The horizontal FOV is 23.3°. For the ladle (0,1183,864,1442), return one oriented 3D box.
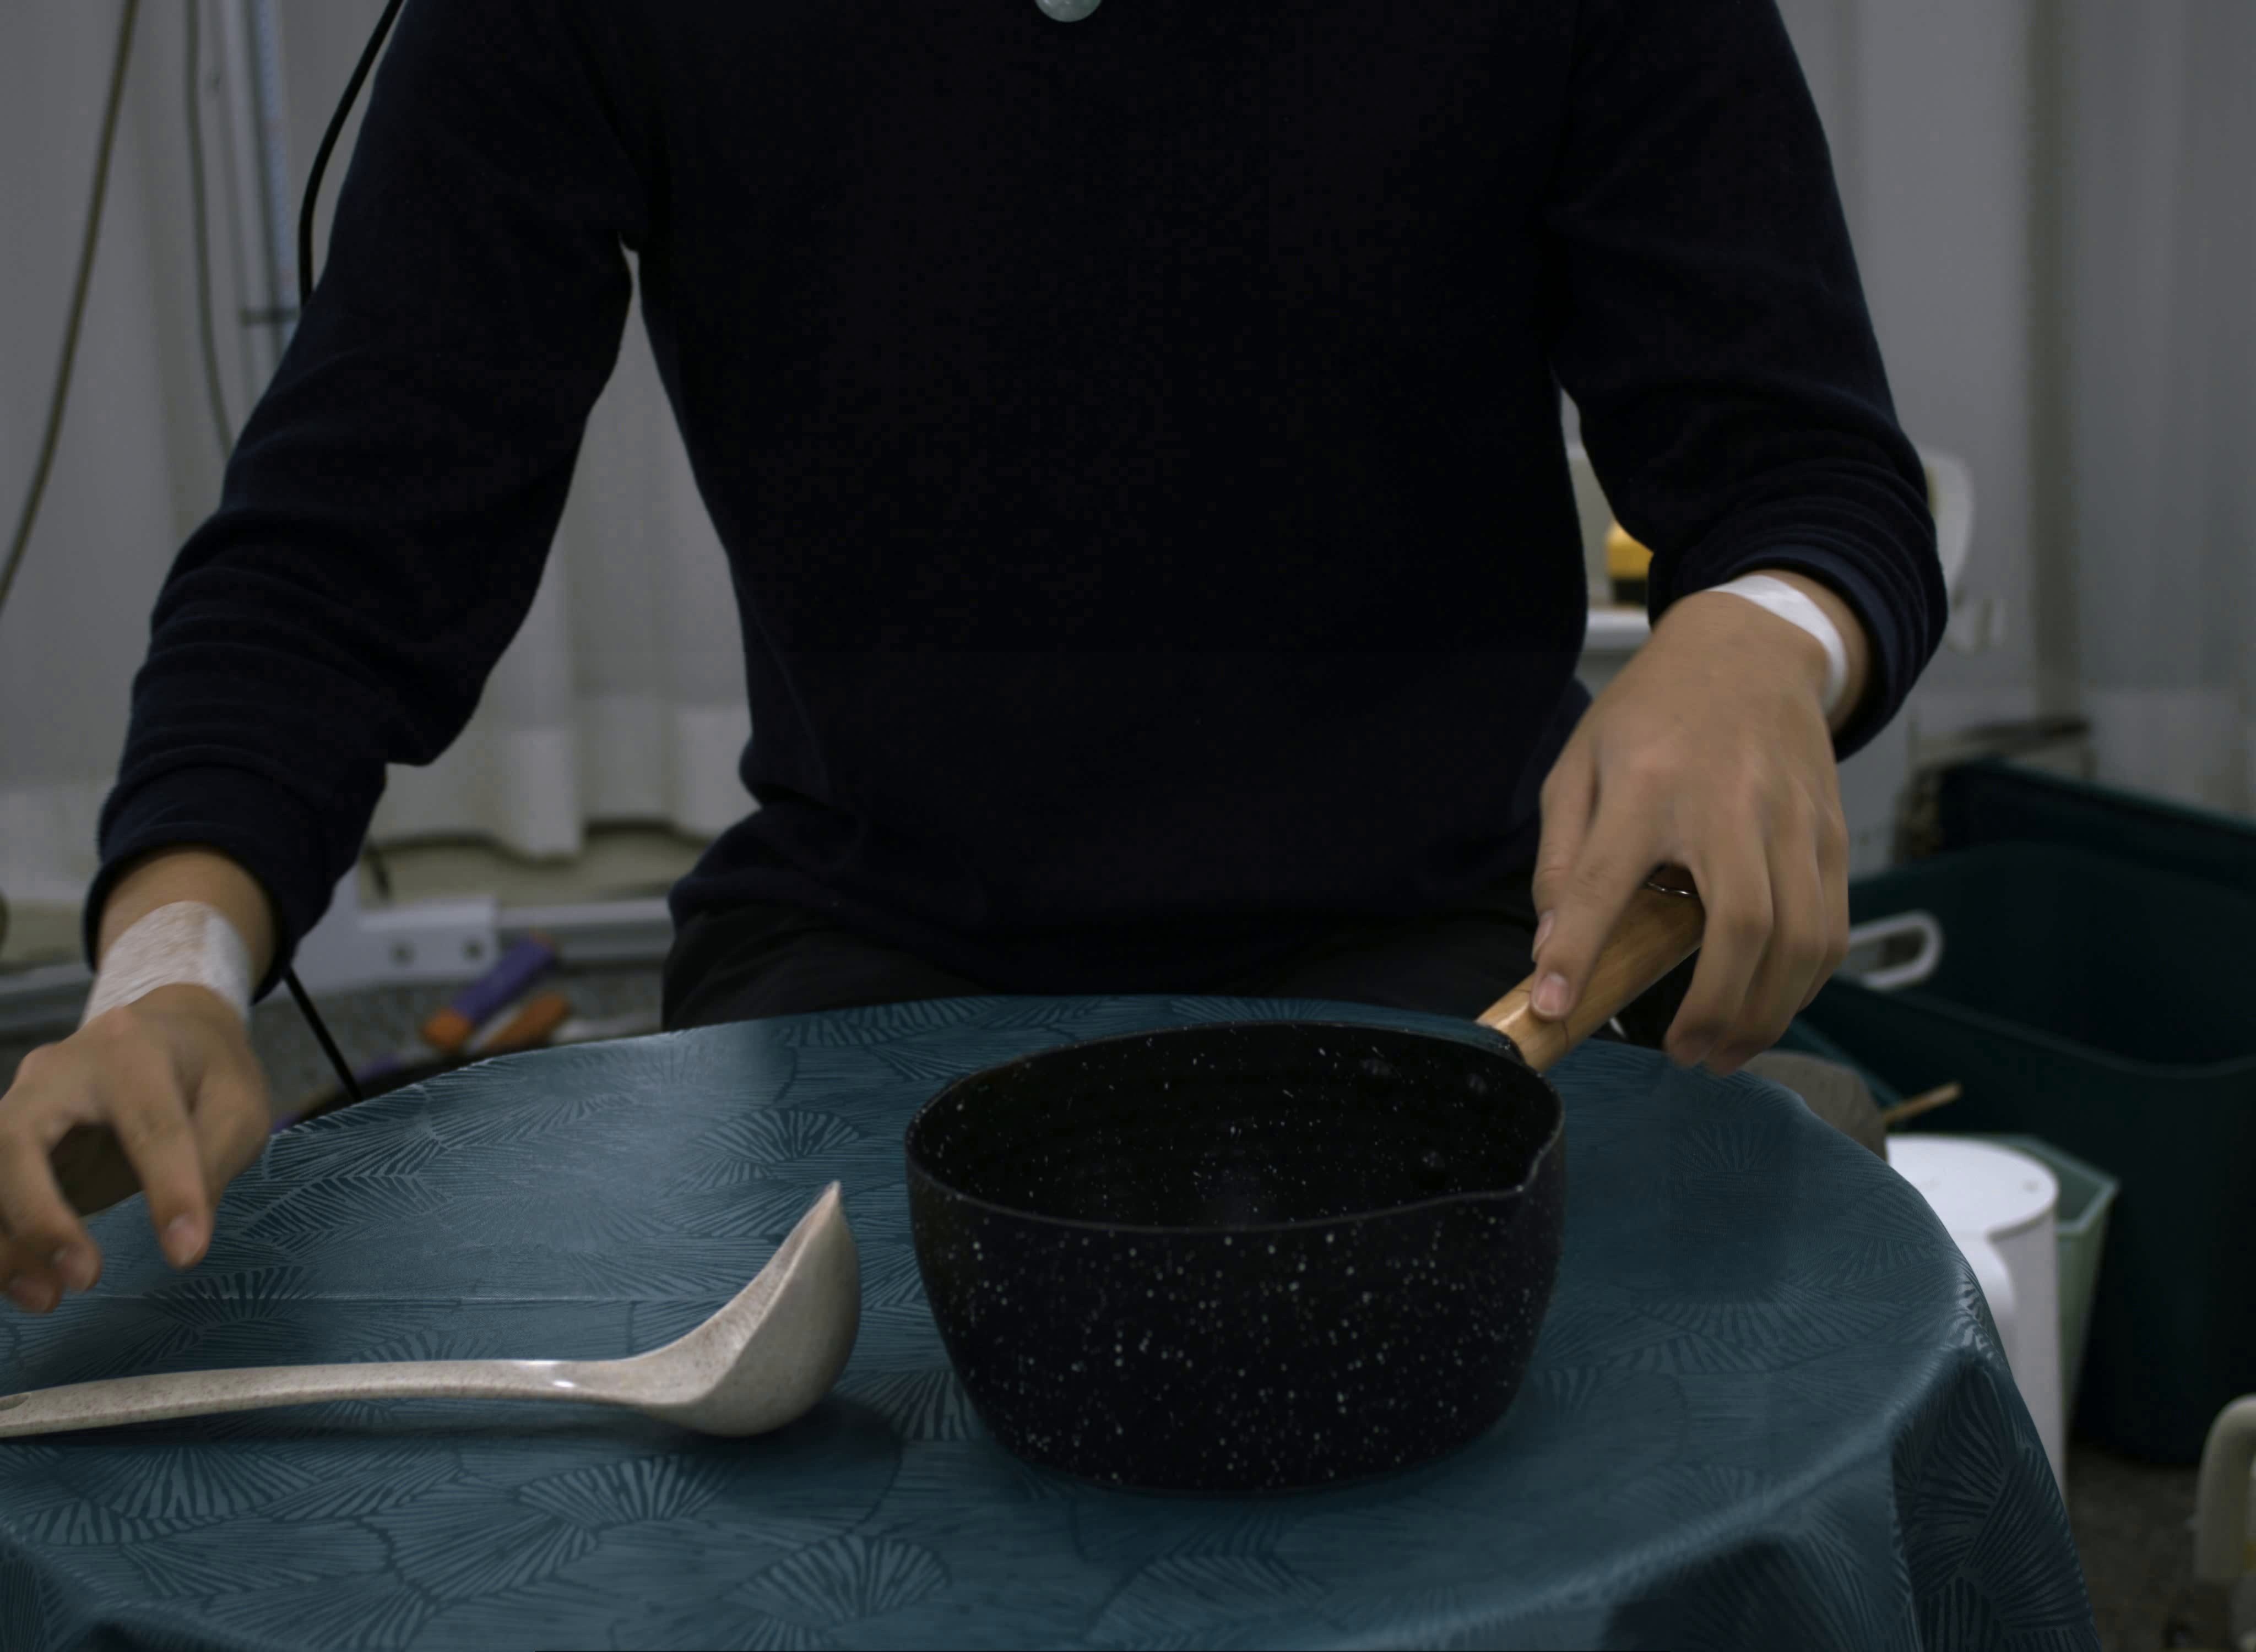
[{"bbox_3d":[-0.210,0.139,1.537,0.274,0.069,0.090,-2,21,6],"label":"ladle"}]

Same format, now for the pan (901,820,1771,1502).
[{"bbox_3d":[0.081,0.091,1.579,0.208,0.108,0.342,8,20,39],"label":"pan"}]
